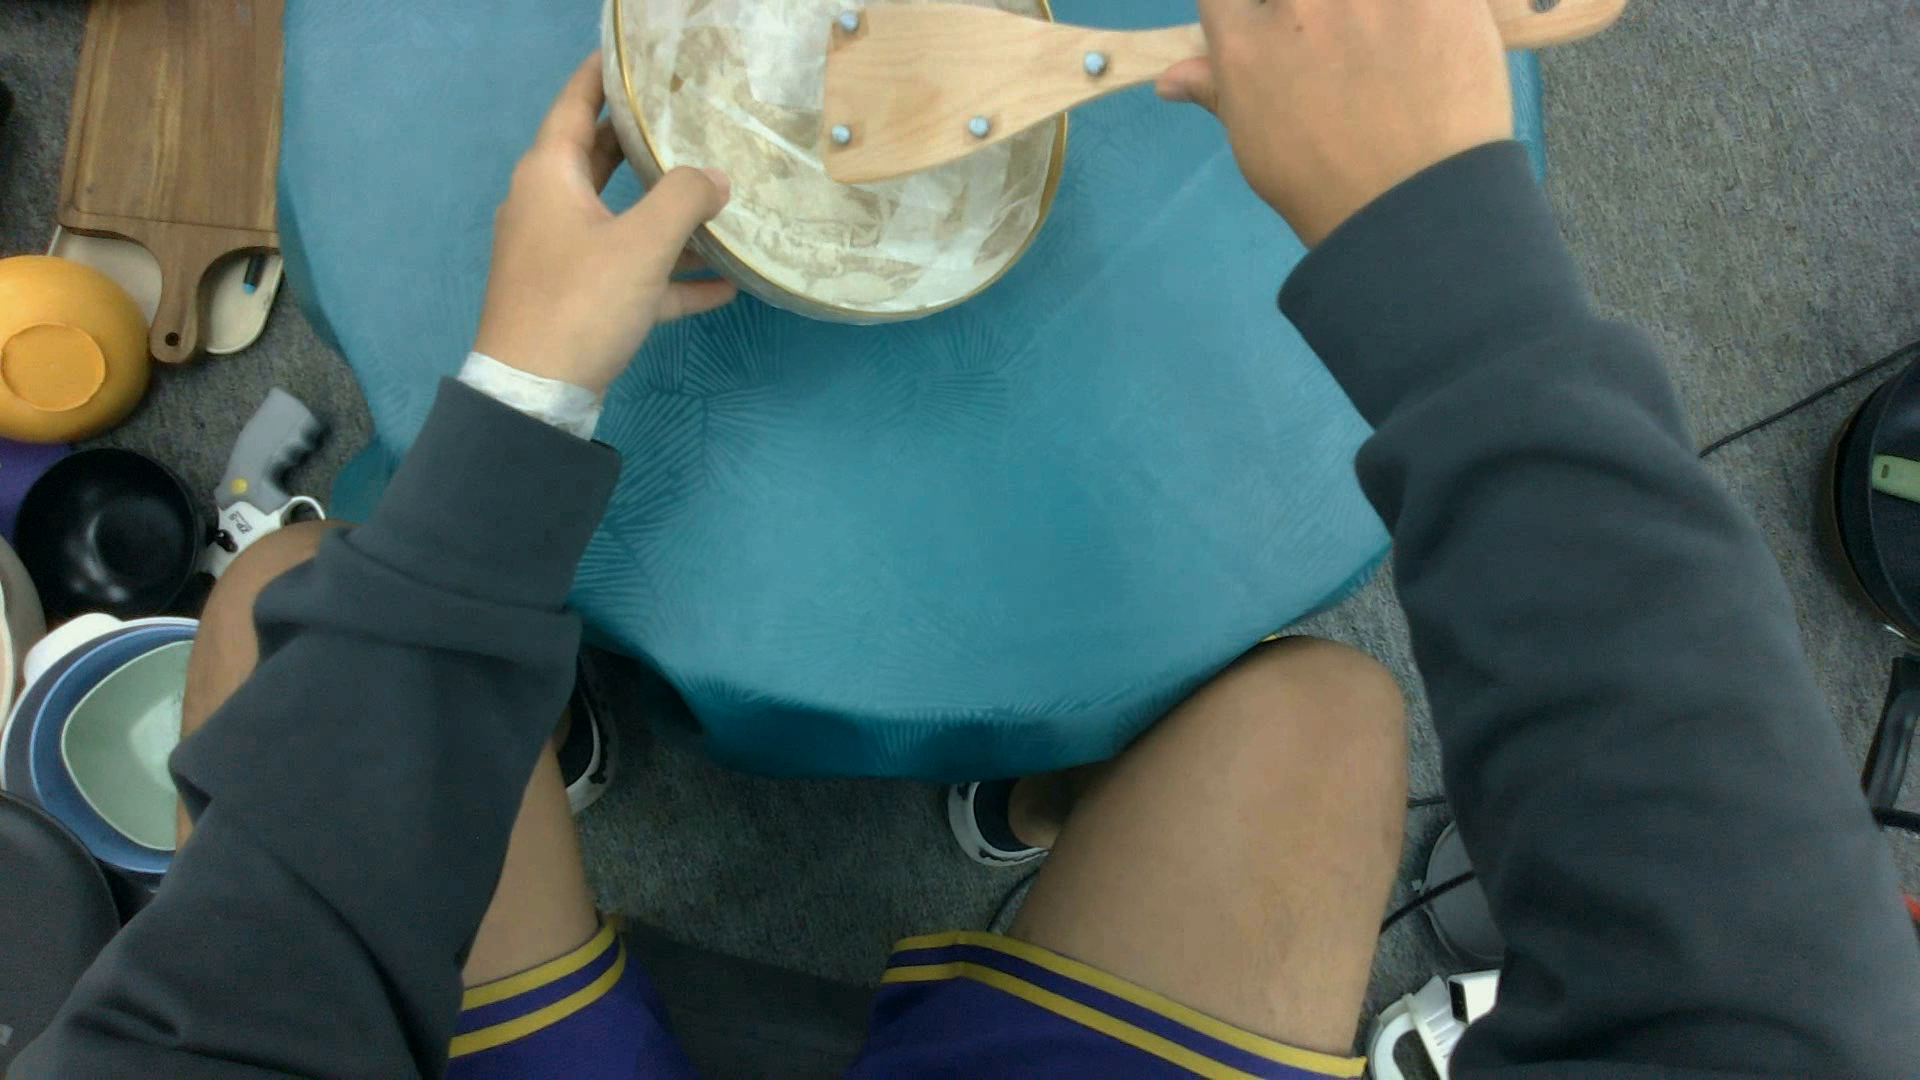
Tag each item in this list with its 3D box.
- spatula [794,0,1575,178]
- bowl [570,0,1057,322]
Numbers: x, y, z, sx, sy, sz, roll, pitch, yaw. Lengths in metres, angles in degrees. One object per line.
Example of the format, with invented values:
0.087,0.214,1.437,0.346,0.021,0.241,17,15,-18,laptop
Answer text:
0.056,-0.181,0.513,0.016,0.327,0.080,14,84,-52,spatula
-0.070,-0.188,0.581,0.215,0.094,0.215,3,84,-33,bowl
